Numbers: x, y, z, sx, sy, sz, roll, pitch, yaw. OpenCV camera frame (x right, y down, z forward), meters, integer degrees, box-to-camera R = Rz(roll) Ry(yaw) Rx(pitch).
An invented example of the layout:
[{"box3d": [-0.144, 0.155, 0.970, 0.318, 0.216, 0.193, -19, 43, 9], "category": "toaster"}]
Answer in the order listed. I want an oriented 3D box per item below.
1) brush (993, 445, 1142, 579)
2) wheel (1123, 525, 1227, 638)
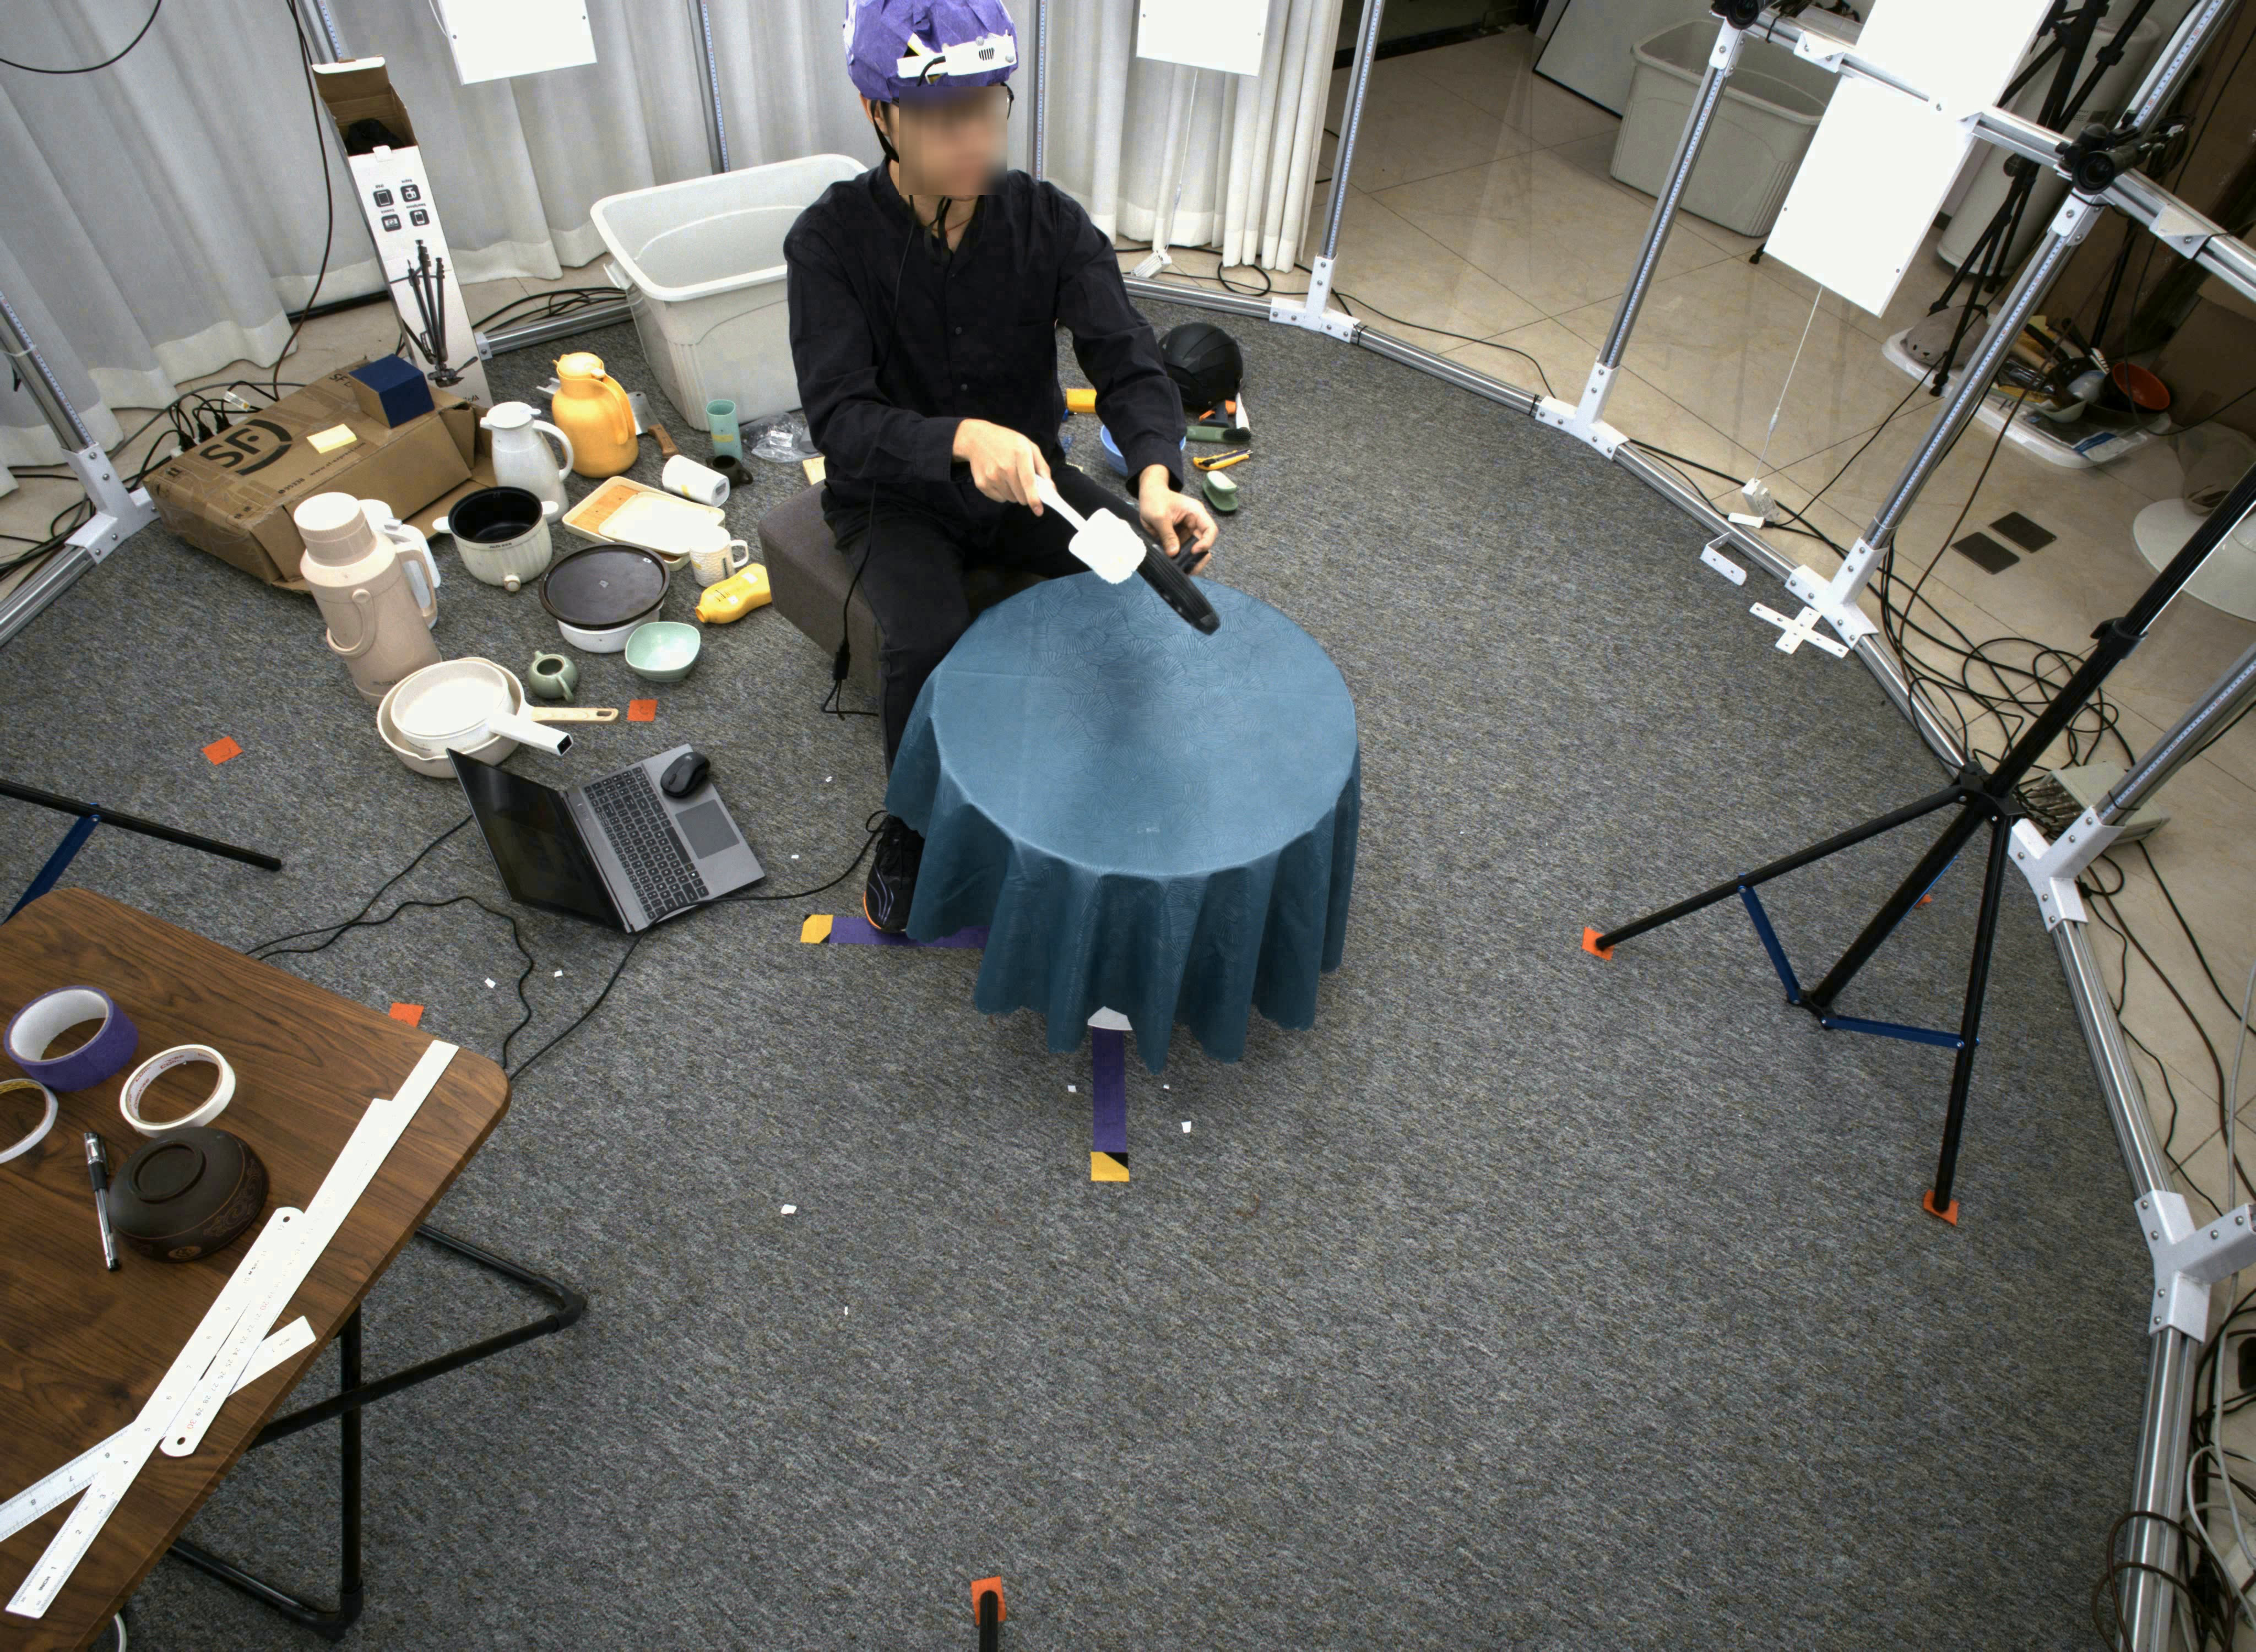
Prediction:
[{"box3d": [-0.069, -0.395, 1.618, 0.083, 0.082, 0.332, -23, 43, -18], "category": "brush"}, {"box3d": [0.069, -0.331, 1.656, 0.190, 0.187, 0.079, 44, 95, 2], "category": "wheel"}]
